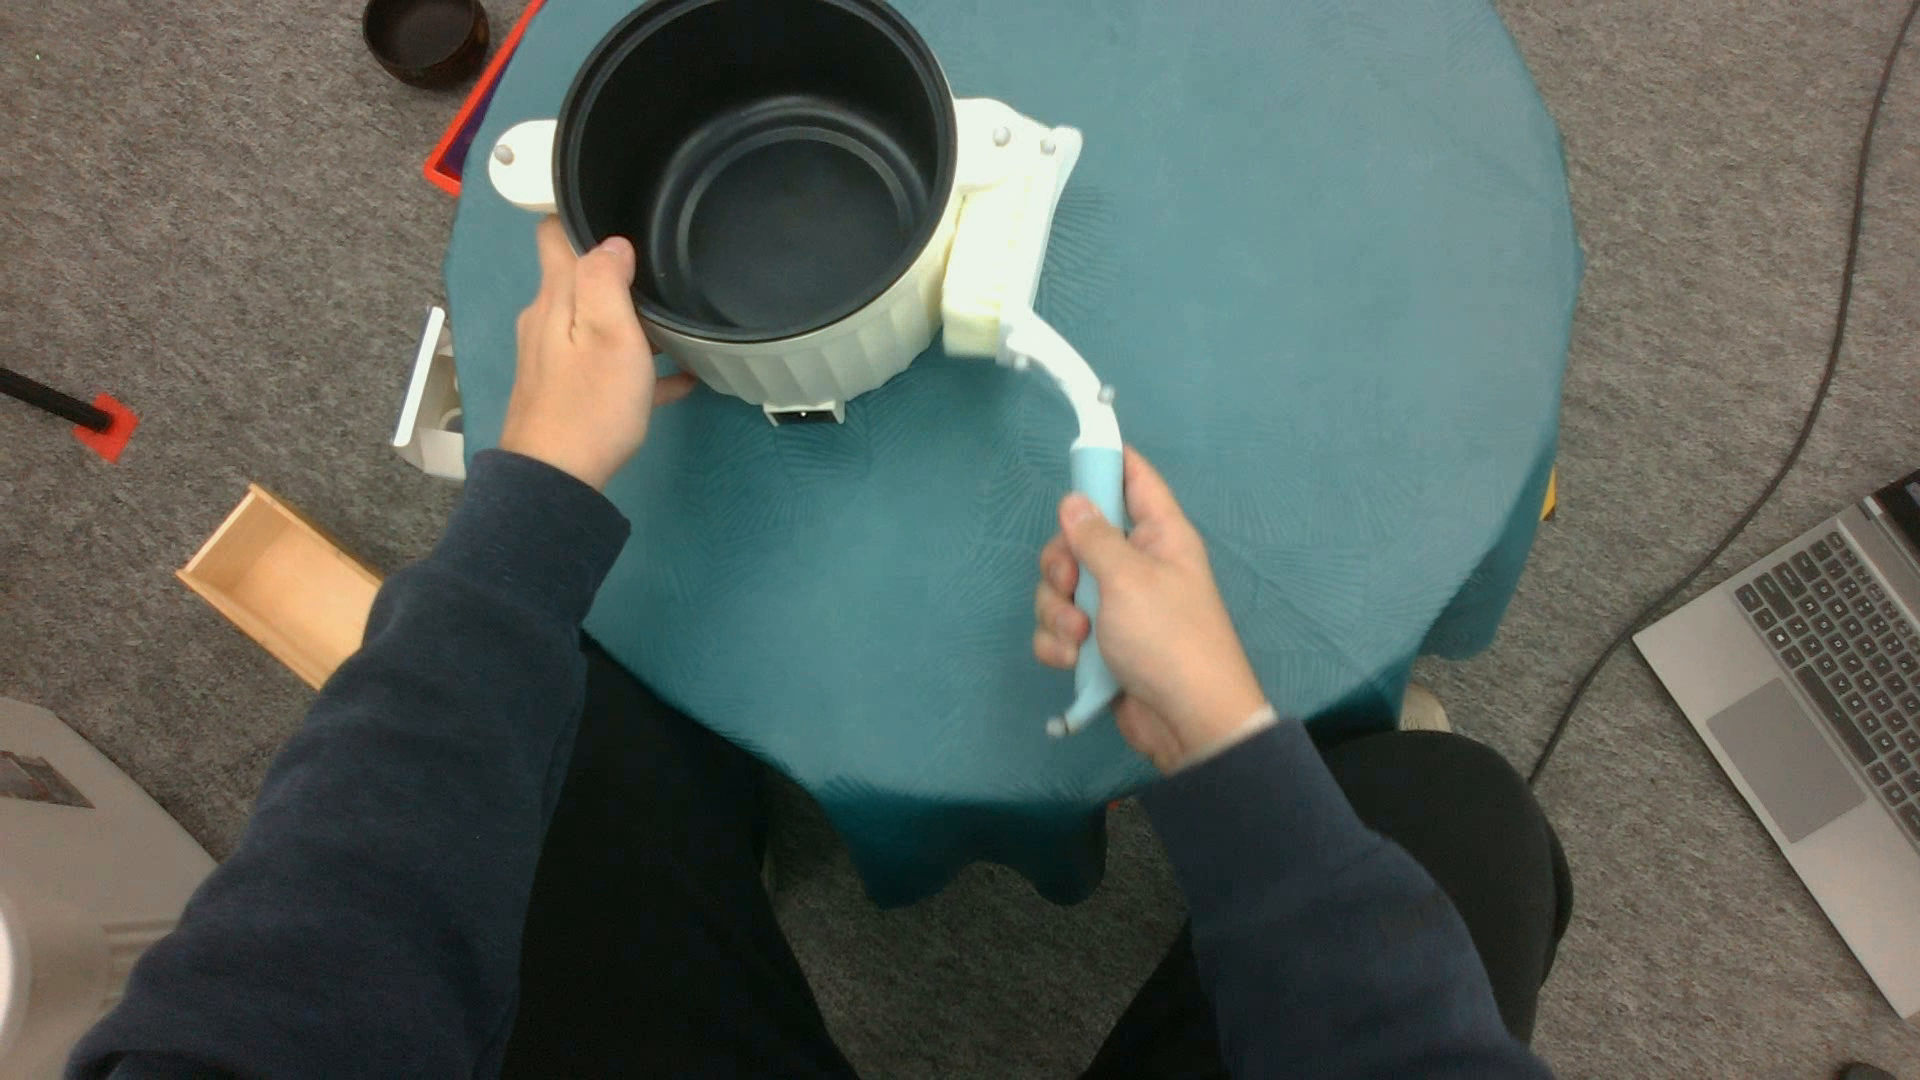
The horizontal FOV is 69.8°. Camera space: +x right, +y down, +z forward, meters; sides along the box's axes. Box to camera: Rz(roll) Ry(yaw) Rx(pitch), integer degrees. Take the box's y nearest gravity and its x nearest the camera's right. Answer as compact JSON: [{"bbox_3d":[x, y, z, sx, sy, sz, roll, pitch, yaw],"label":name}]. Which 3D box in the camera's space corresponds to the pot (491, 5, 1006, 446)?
[{"bbox_3d":[-0.094,-0.154,0.690,0.240,0.142,0.191,-5,80,4],"label":"pot"}]

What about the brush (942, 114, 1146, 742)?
[{"bbox_3d":[0.023,-0.065,0.644,0.084,0.083,0.326,-18,62,34],"label":"brush"}]
